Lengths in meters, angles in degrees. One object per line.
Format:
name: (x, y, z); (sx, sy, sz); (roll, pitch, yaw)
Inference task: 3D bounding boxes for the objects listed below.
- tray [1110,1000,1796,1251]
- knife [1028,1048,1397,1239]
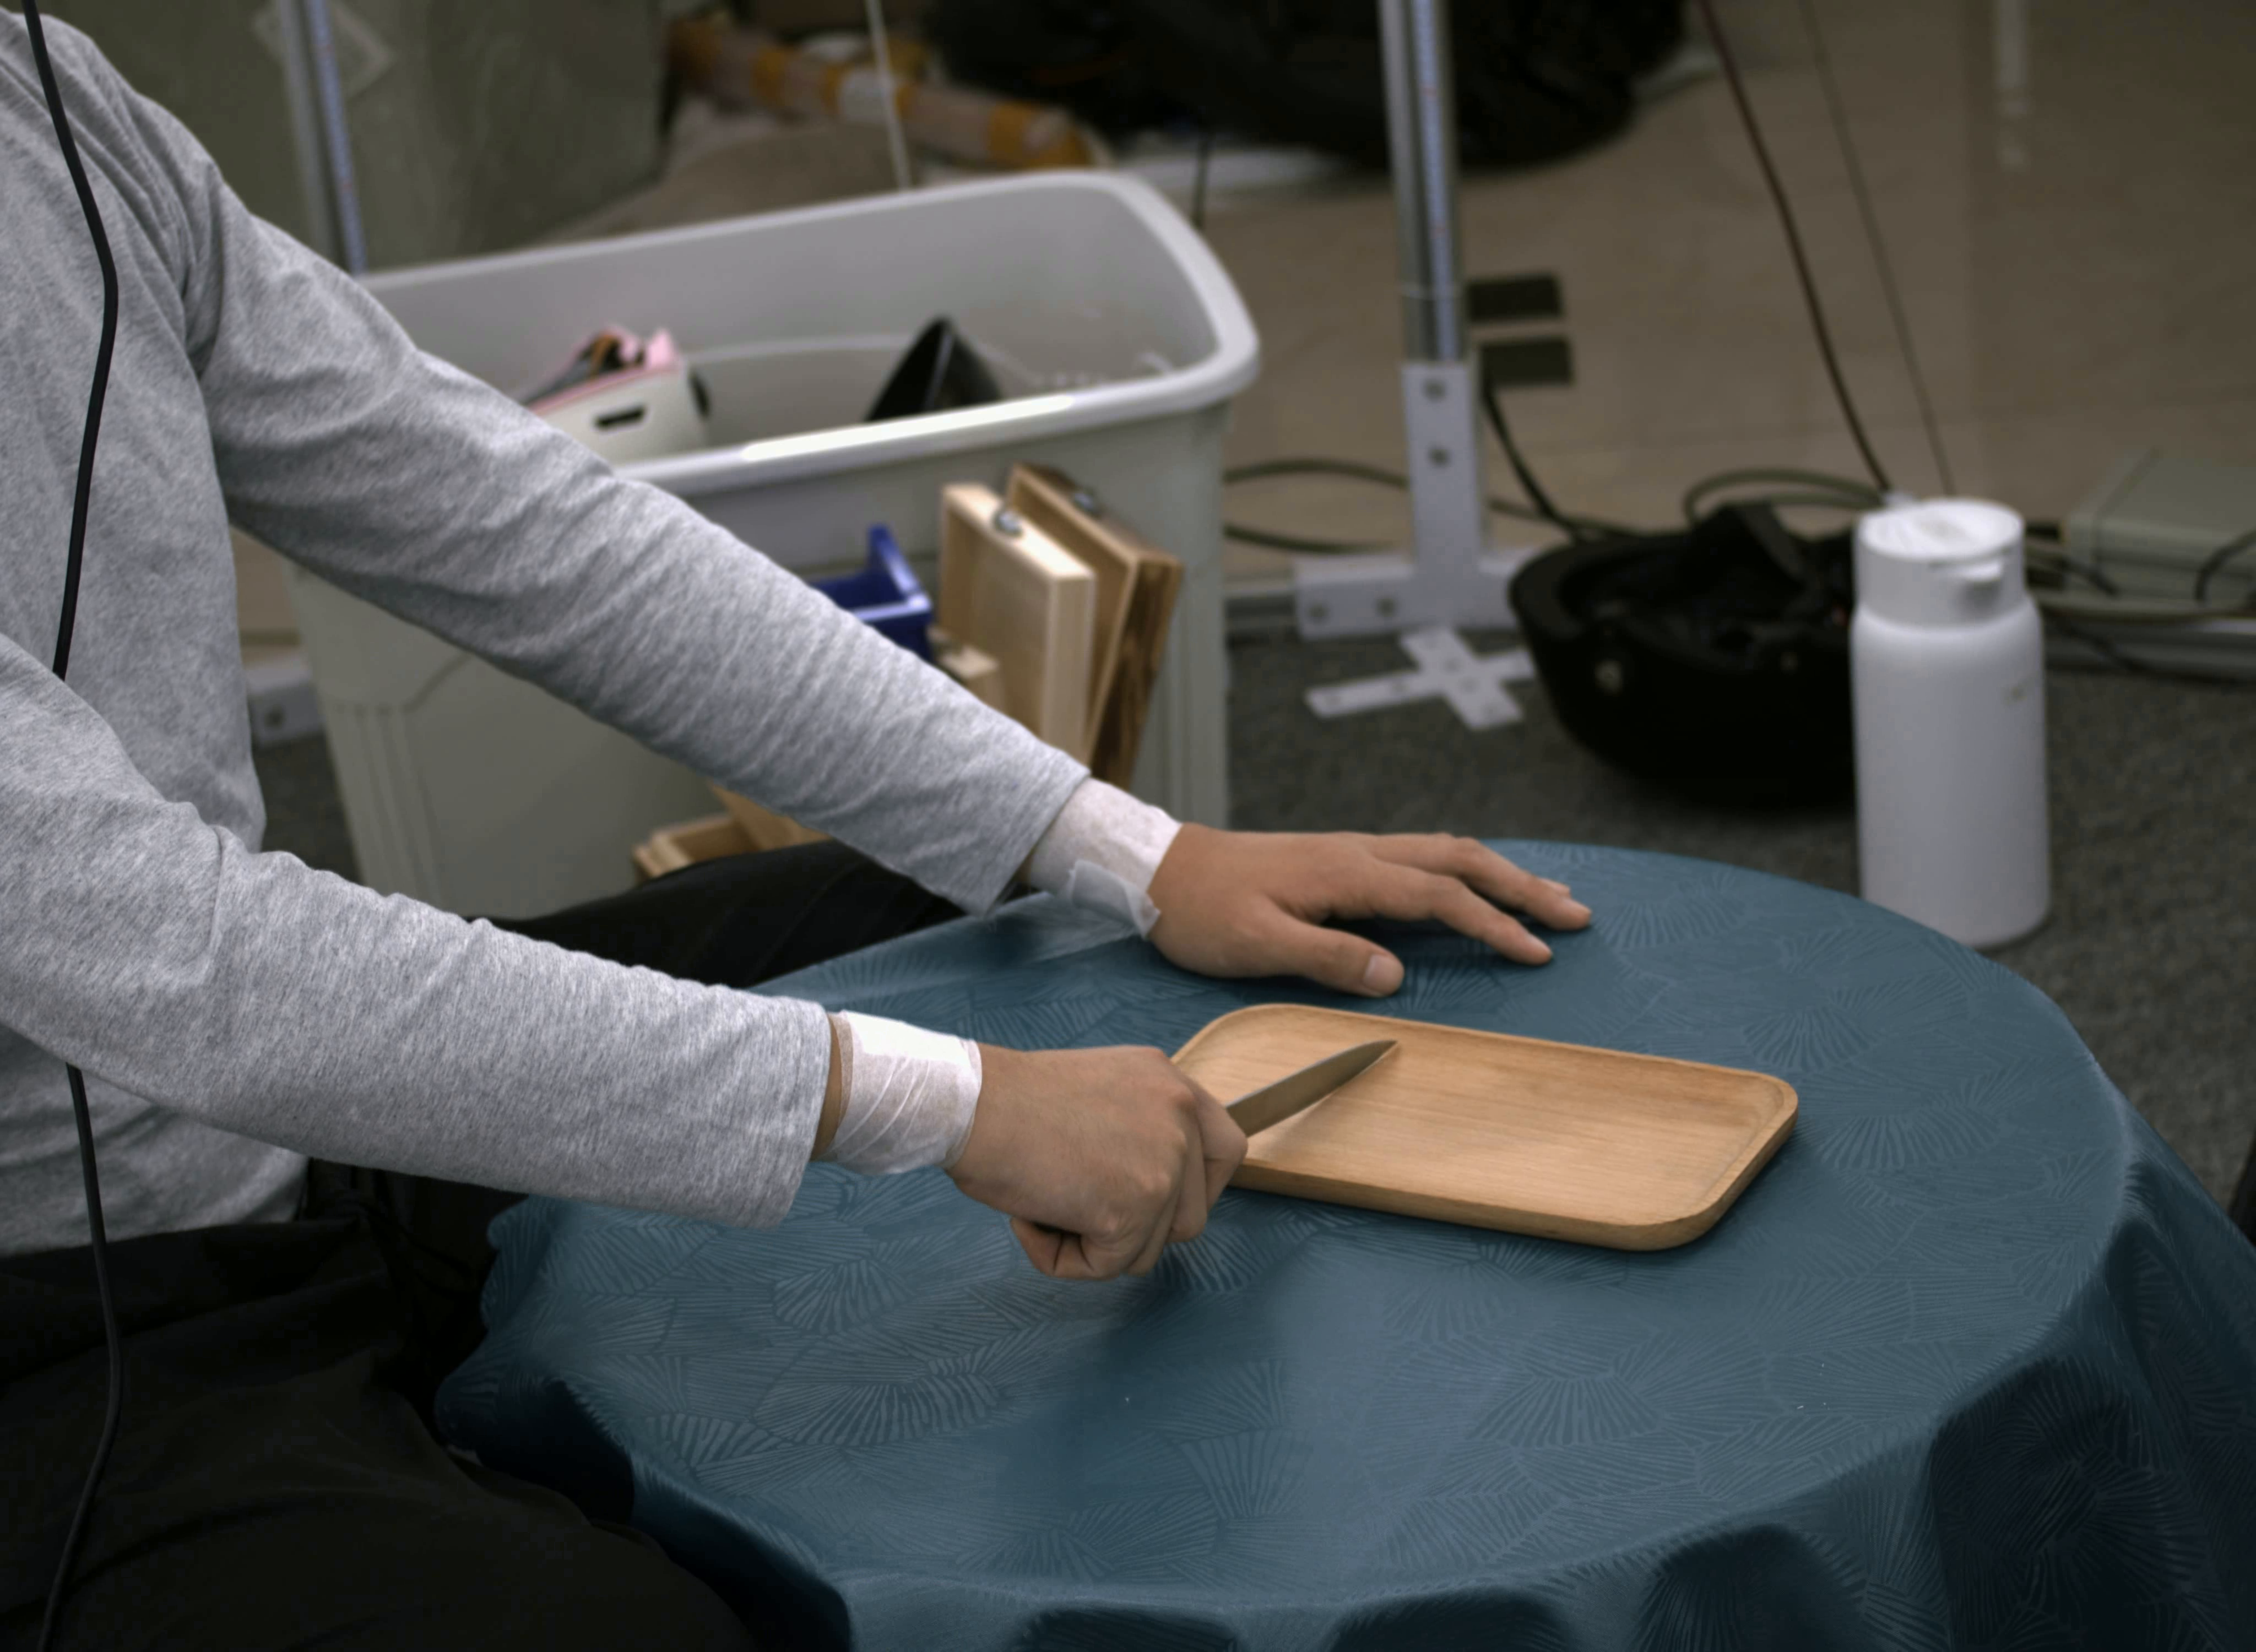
tray: (0.122, 0.113, 2.158); (0.249, 0.023, 0.129); (7, 25, 30)
knife: (0.037, 0.113, 2.127); (0.016, 0.025, 0.236); (28, 28, 28)
